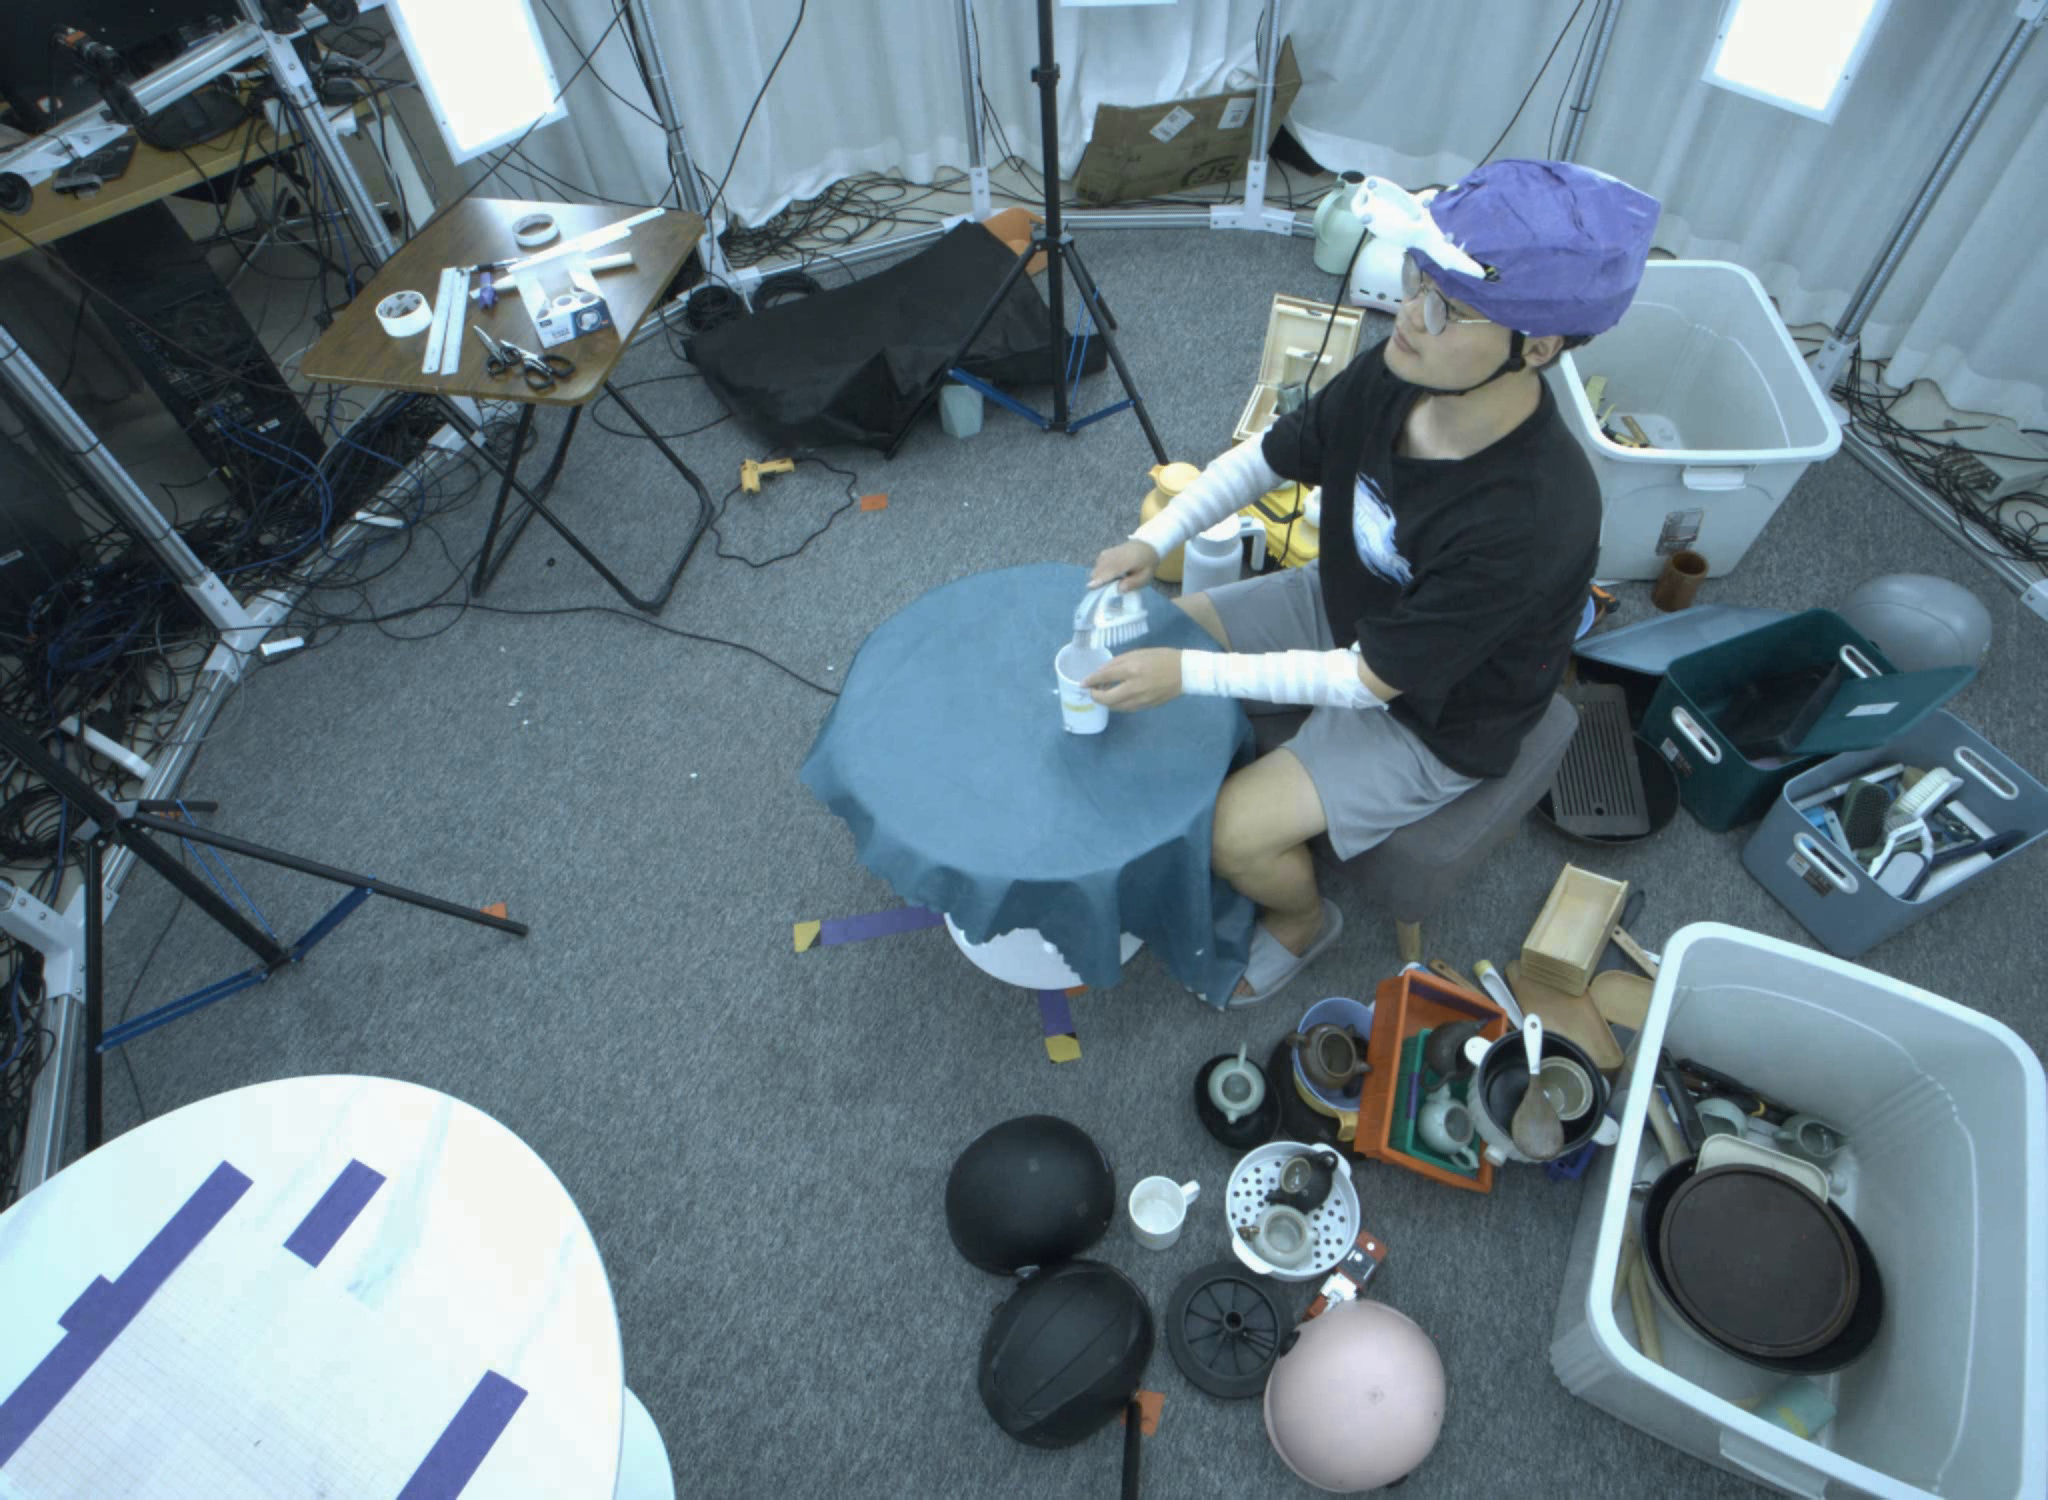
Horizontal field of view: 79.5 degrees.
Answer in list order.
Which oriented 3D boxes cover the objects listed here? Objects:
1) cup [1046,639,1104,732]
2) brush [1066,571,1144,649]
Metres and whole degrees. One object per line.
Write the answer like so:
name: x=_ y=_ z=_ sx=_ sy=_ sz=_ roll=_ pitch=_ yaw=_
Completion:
cup: x=0.075 y=-0.088 z=1.762 sx=0.081 sy=0.127 sz=0.081 roll=-2 pitch=54 yaw=3
brush: x=0.106 y=-0.200 z=1.738 sx=0.060 sy=0.095 sz=0.178 roll=7 pitch=20 yaw=33
